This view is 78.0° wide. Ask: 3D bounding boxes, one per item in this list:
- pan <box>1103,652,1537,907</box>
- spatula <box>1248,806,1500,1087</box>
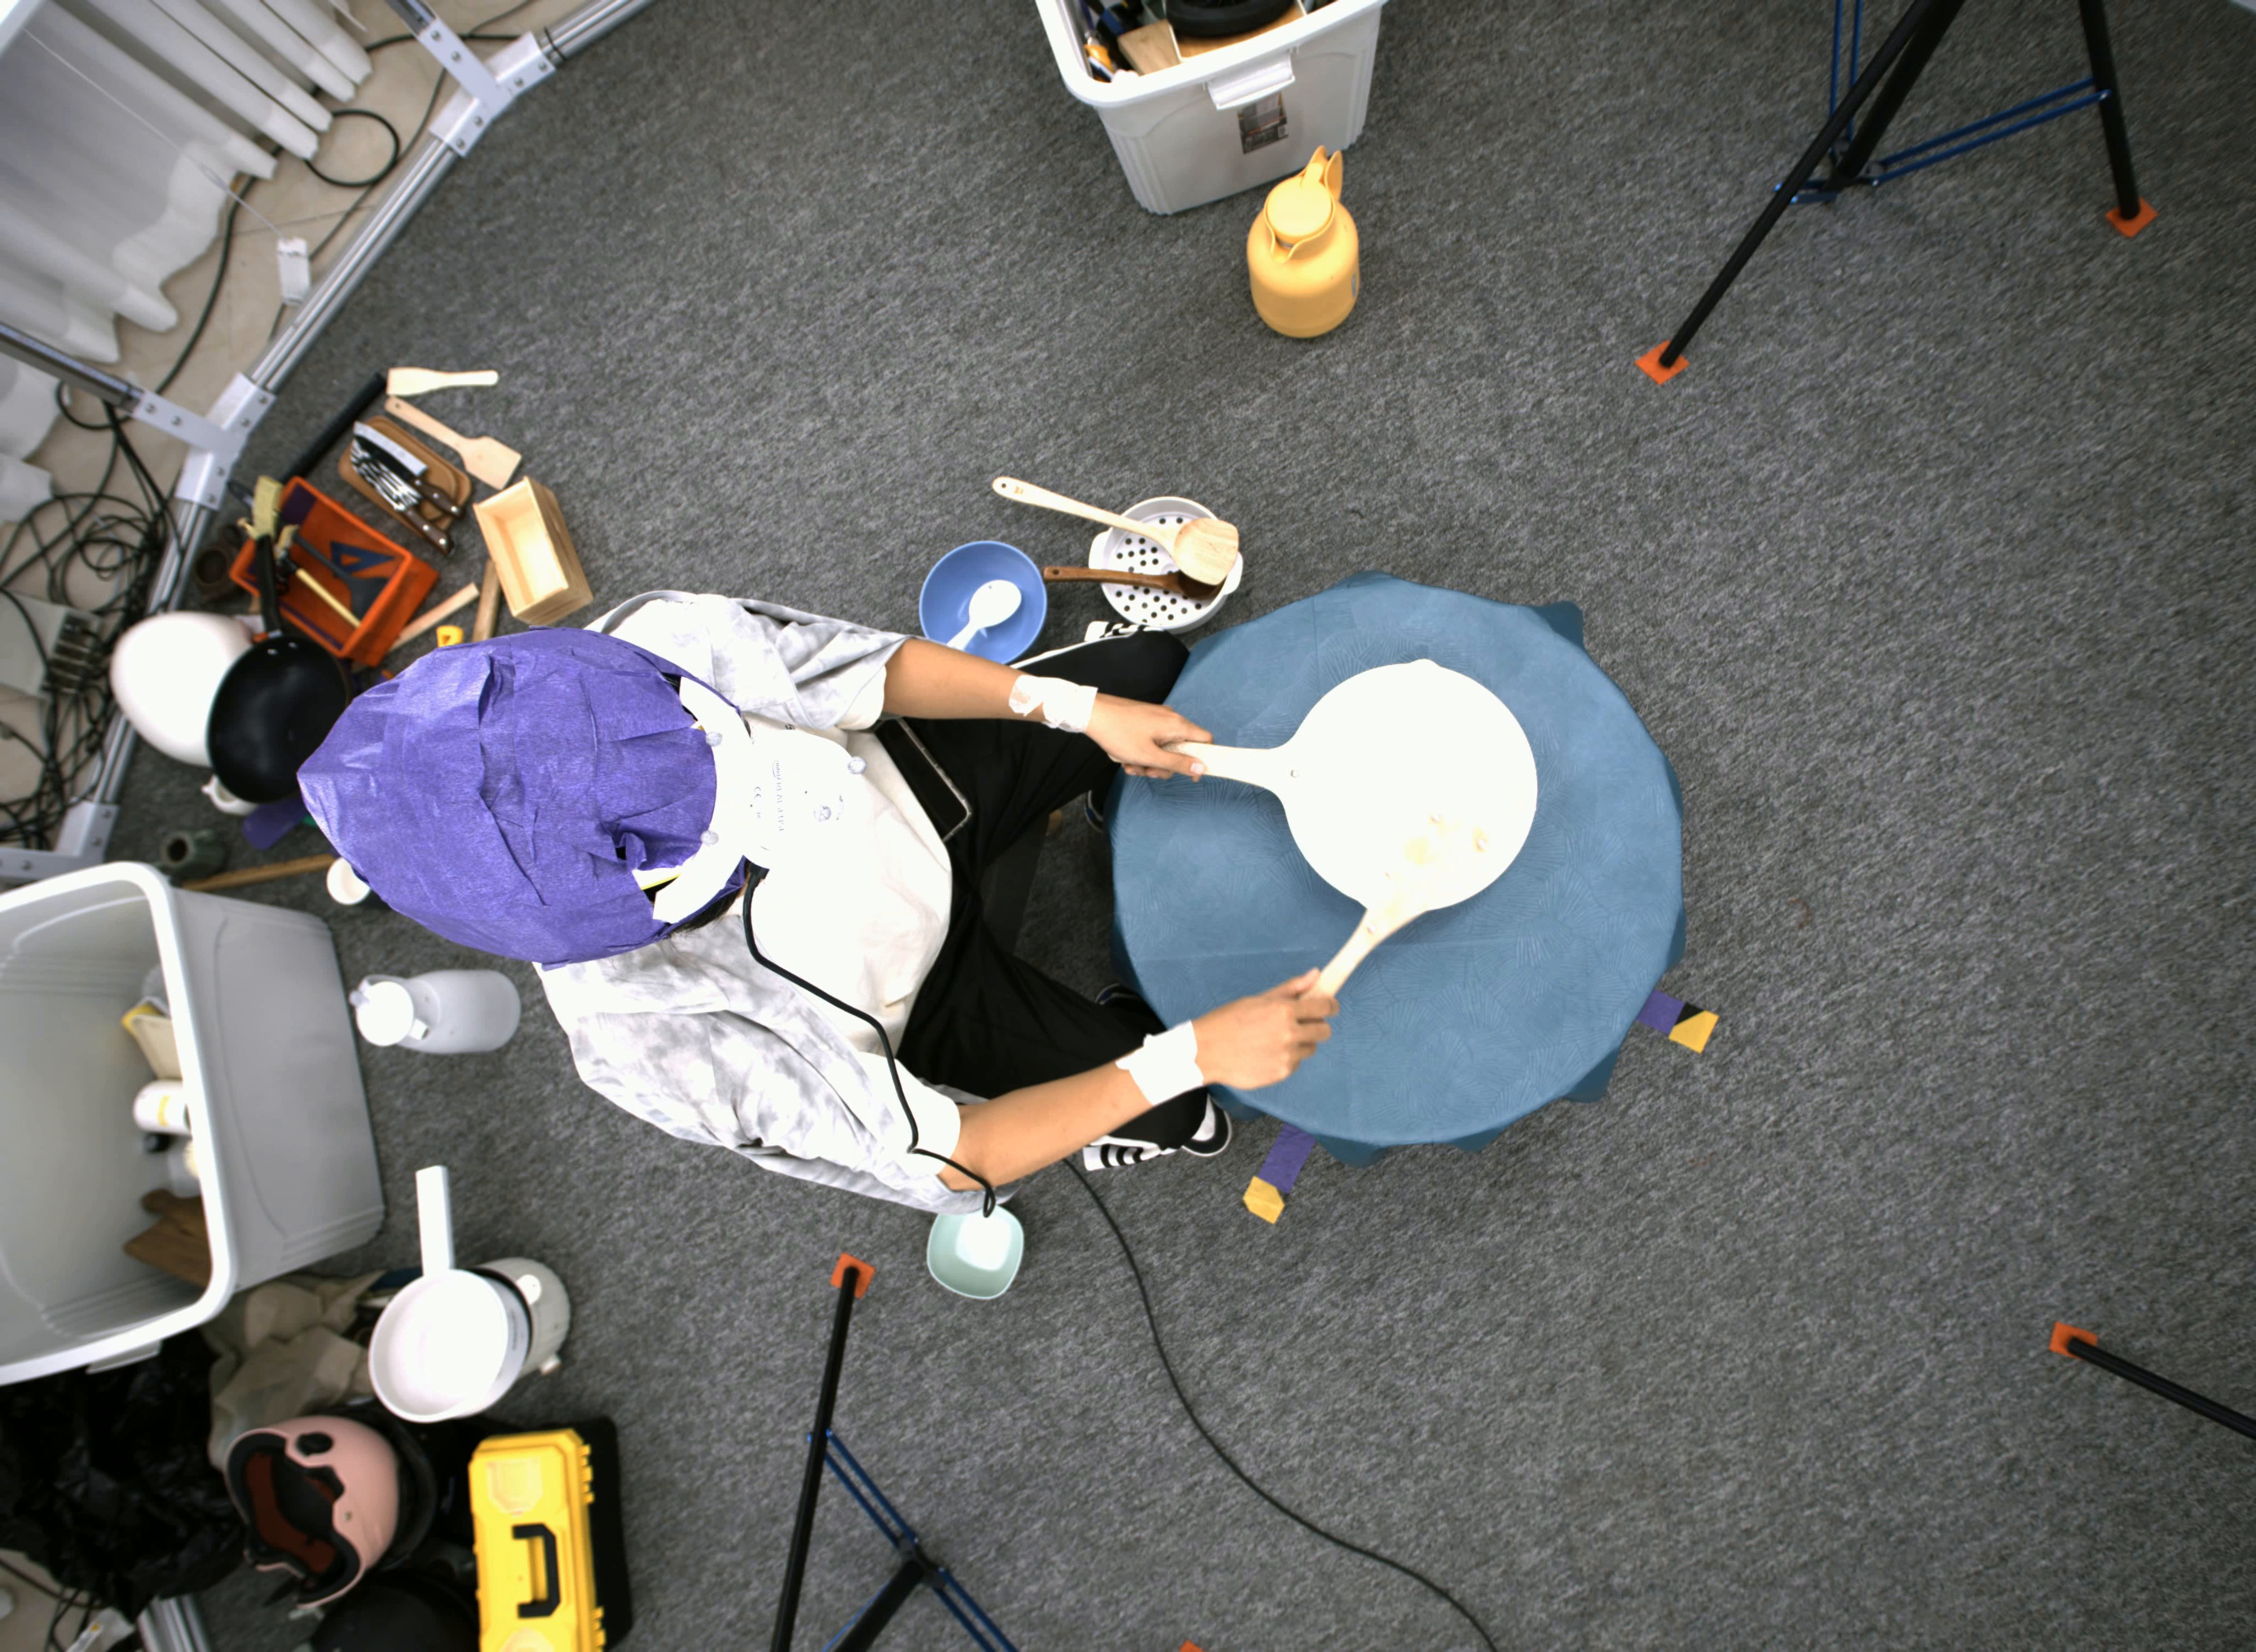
[{"bbox_3d":[0.196,-0.055,1.428,0.436,0.102,0.263,7,89,11],"label":"pan"},{"bbox_3d":[0.222,0.114,1.298,0.080,0.016,0.326,41,84,5],"label":"spatula"}]
